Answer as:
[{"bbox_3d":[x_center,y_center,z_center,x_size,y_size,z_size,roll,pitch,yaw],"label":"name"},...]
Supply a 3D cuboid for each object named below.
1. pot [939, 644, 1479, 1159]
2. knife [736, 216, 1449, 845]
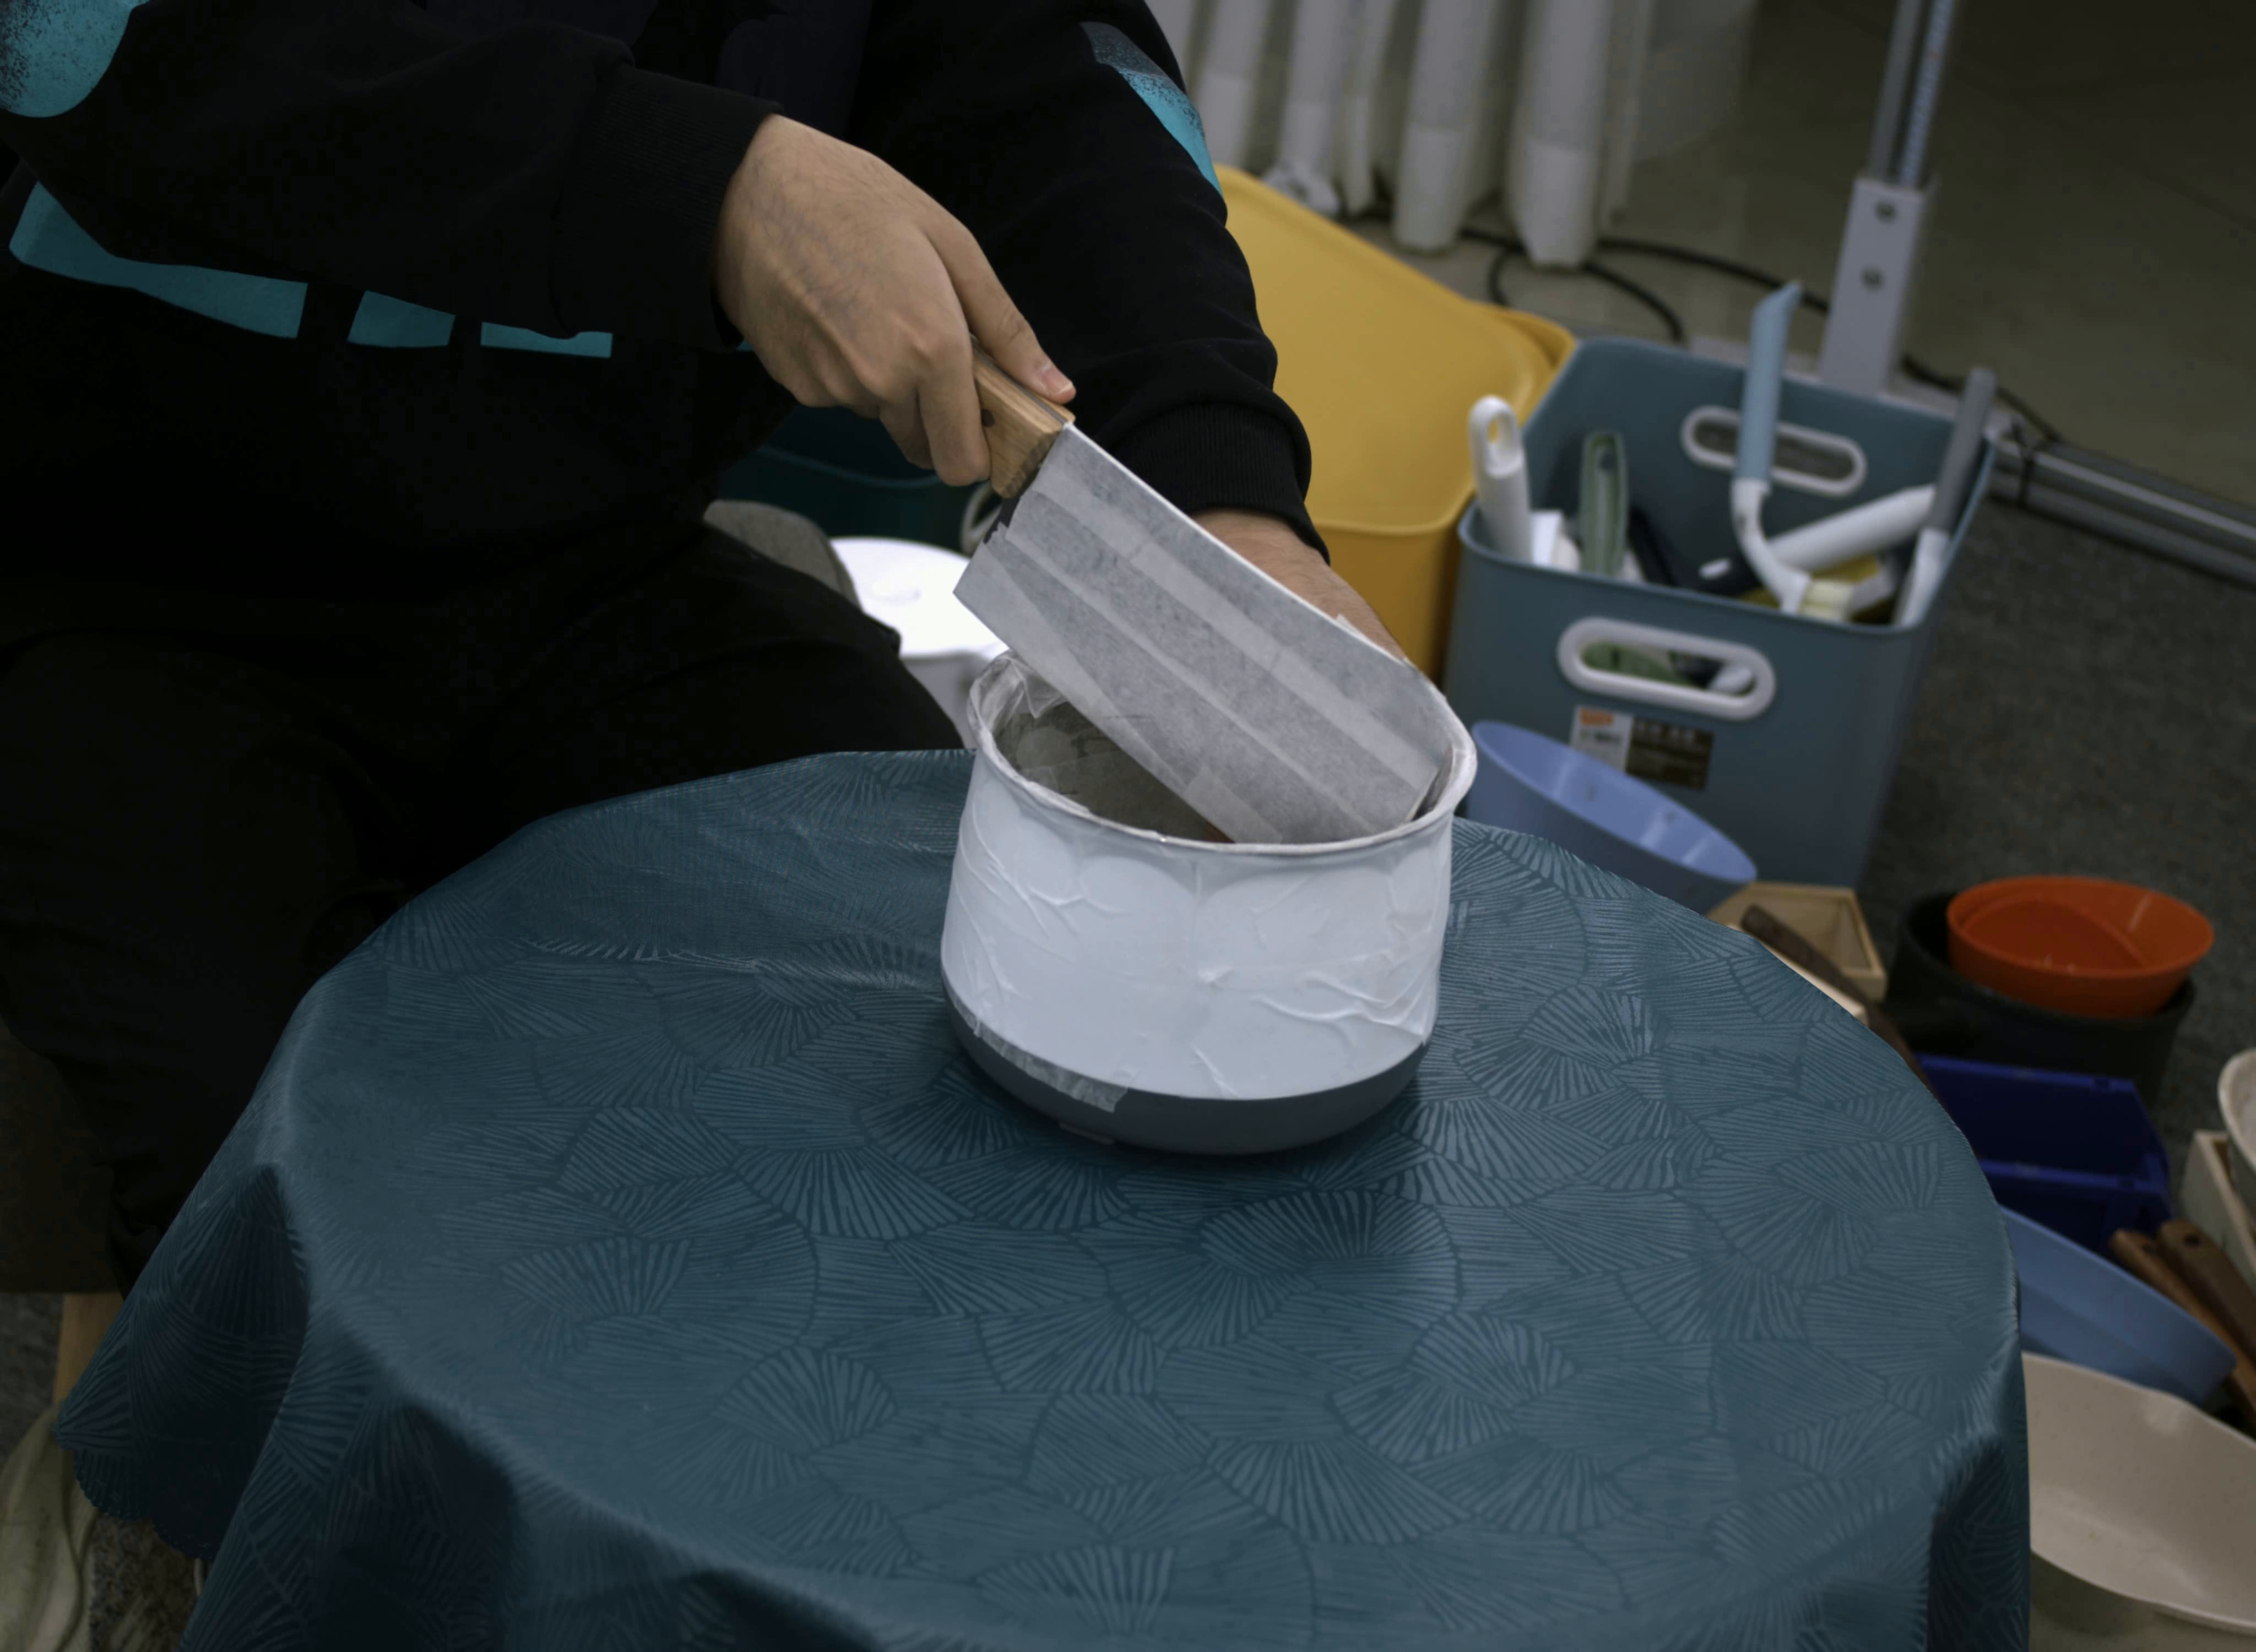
[{"bbox_3d":[0.017,0.009,1.879,0.177,0.136,0.236,-2,29,-19],"label":"pot"},{"bbox_3d":[-0.016,-0.099,1.822,0.316,0.114,0.021,43,36,12],"label":"knife"}]
